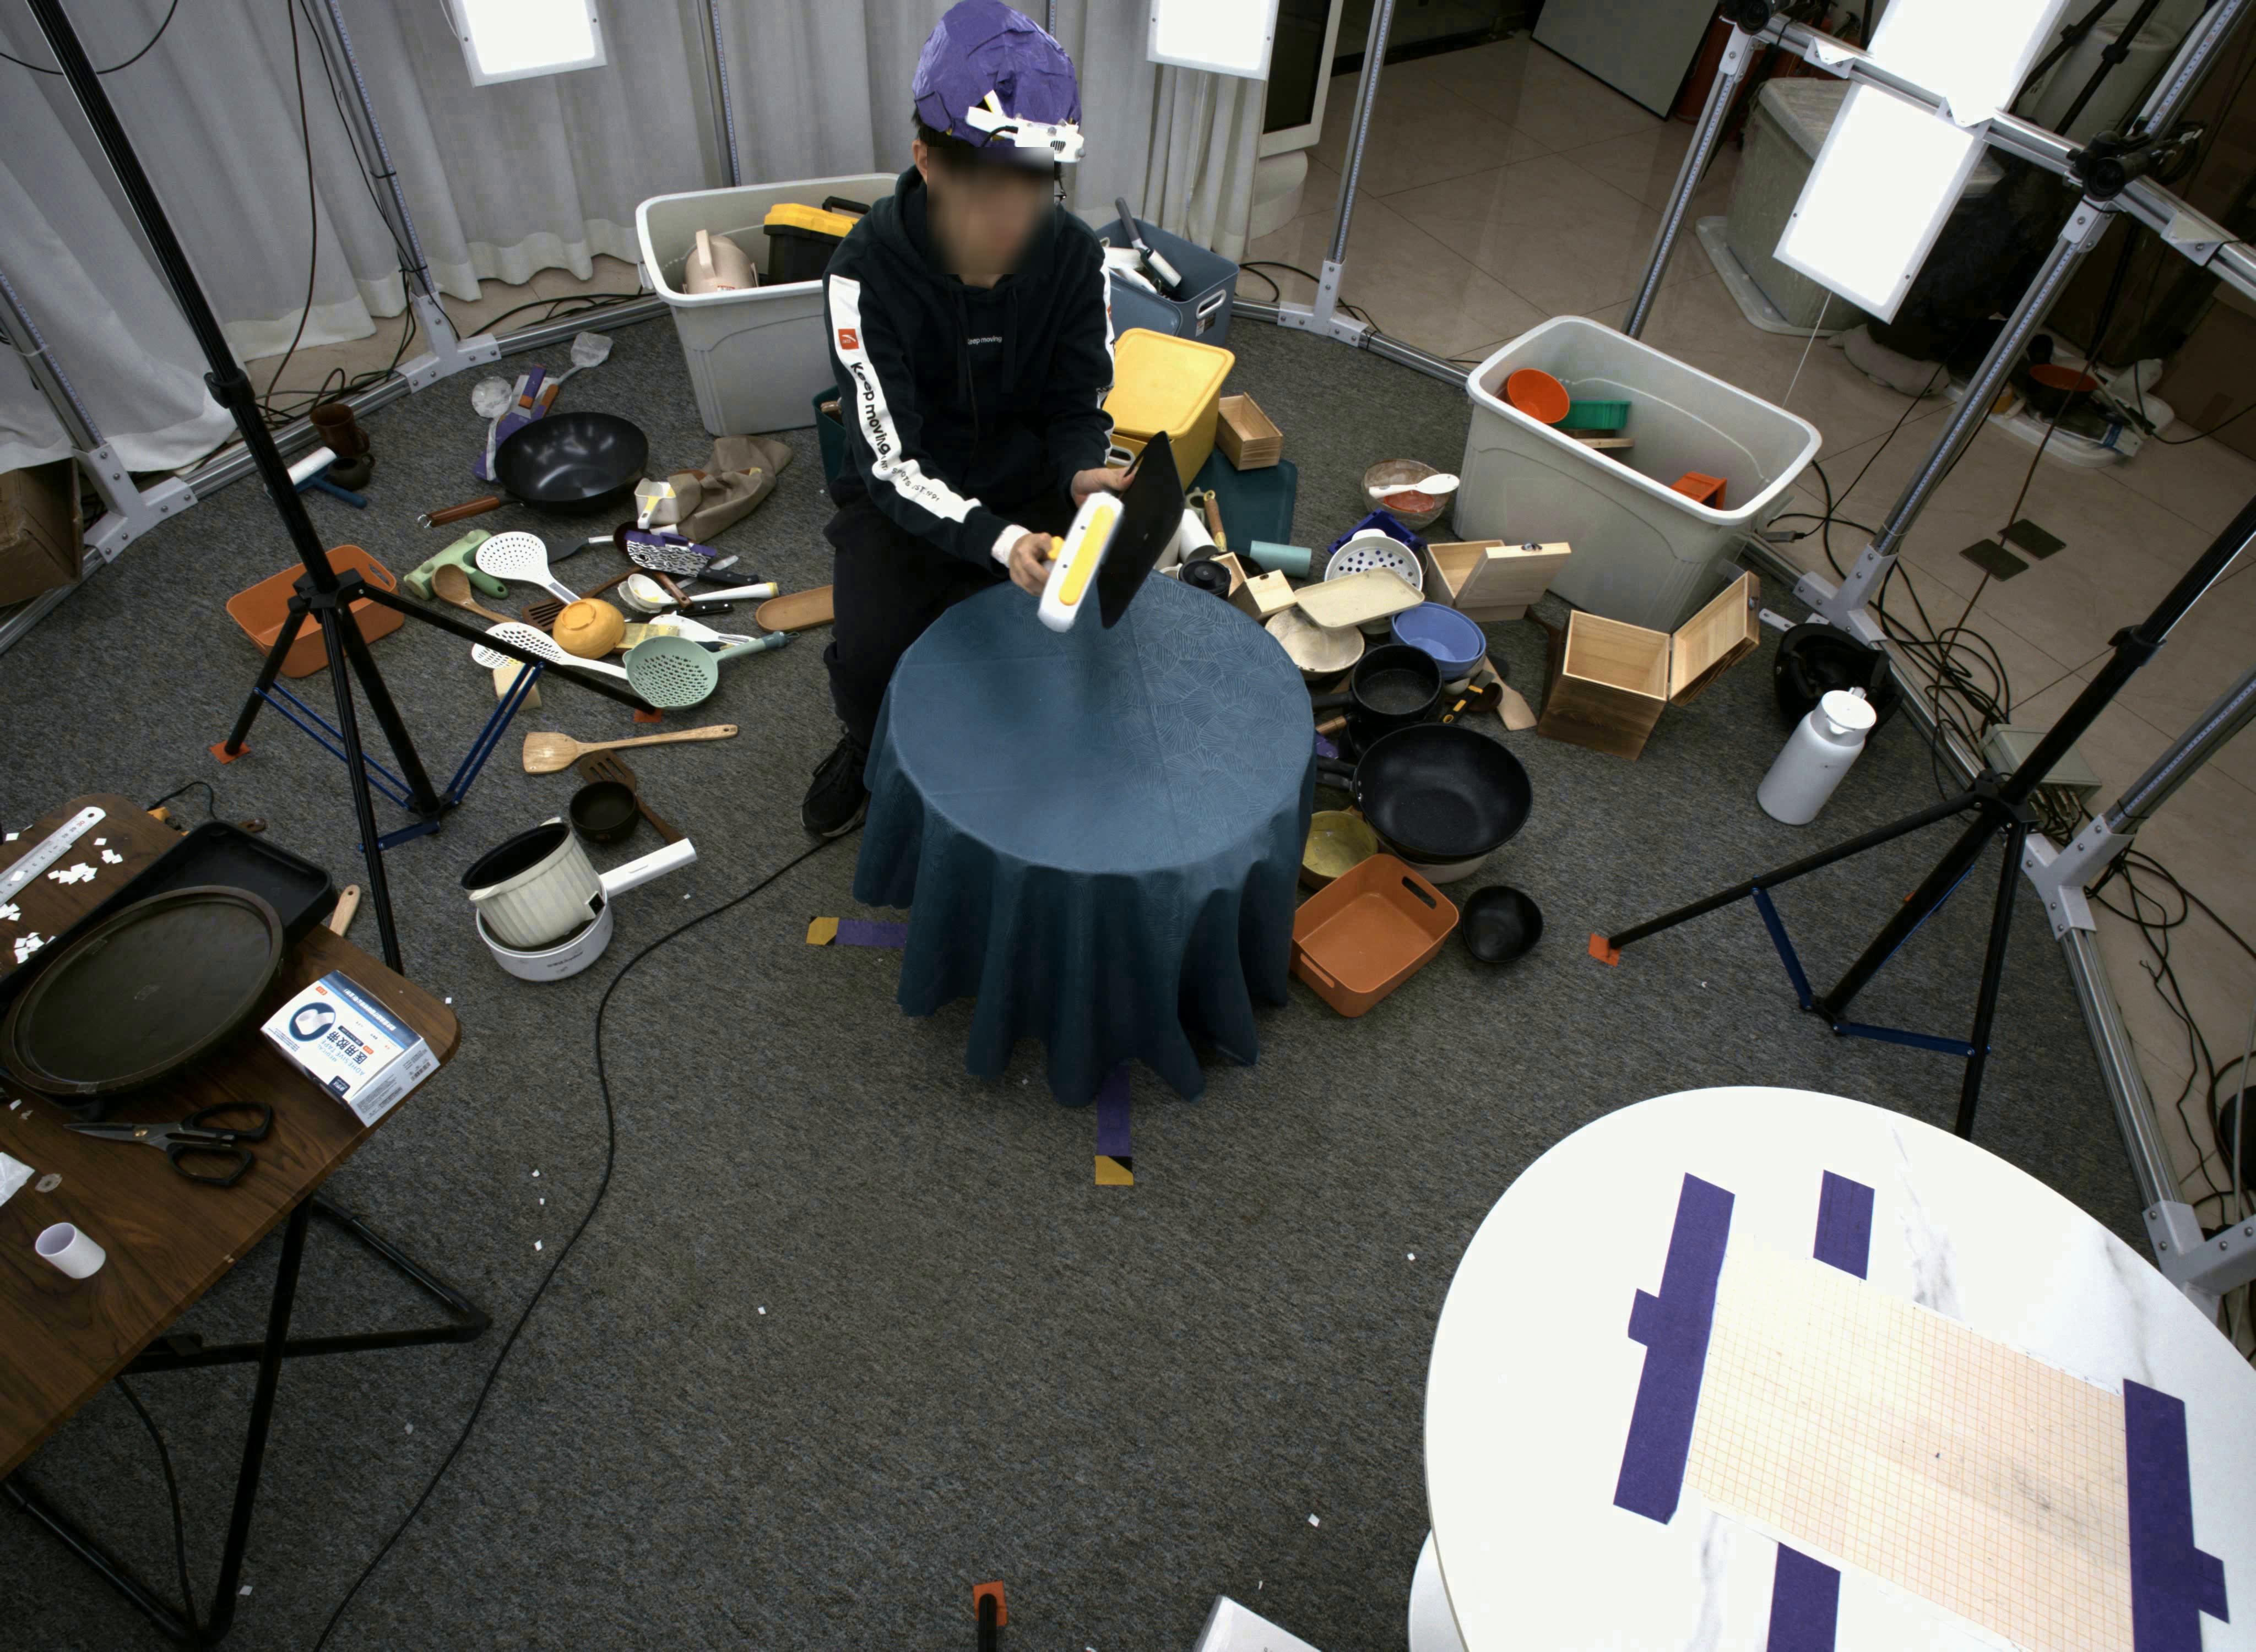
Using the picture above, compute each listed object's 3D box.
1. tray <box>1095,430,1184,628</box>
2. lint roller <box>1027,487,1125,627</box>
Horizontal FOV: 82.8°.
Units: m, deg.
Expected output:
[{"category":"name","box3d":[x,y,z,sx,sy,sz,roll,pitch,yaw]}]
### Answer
[{"category":"tray","box3d":[0.009,-0.417,1.773,0.010,0.208,0.333,24,30,-21]},{"category":"lint roller","box3d":[-0.082,-0.343,1.717,0.073,0.191,0.195,22,74,-15]}]
